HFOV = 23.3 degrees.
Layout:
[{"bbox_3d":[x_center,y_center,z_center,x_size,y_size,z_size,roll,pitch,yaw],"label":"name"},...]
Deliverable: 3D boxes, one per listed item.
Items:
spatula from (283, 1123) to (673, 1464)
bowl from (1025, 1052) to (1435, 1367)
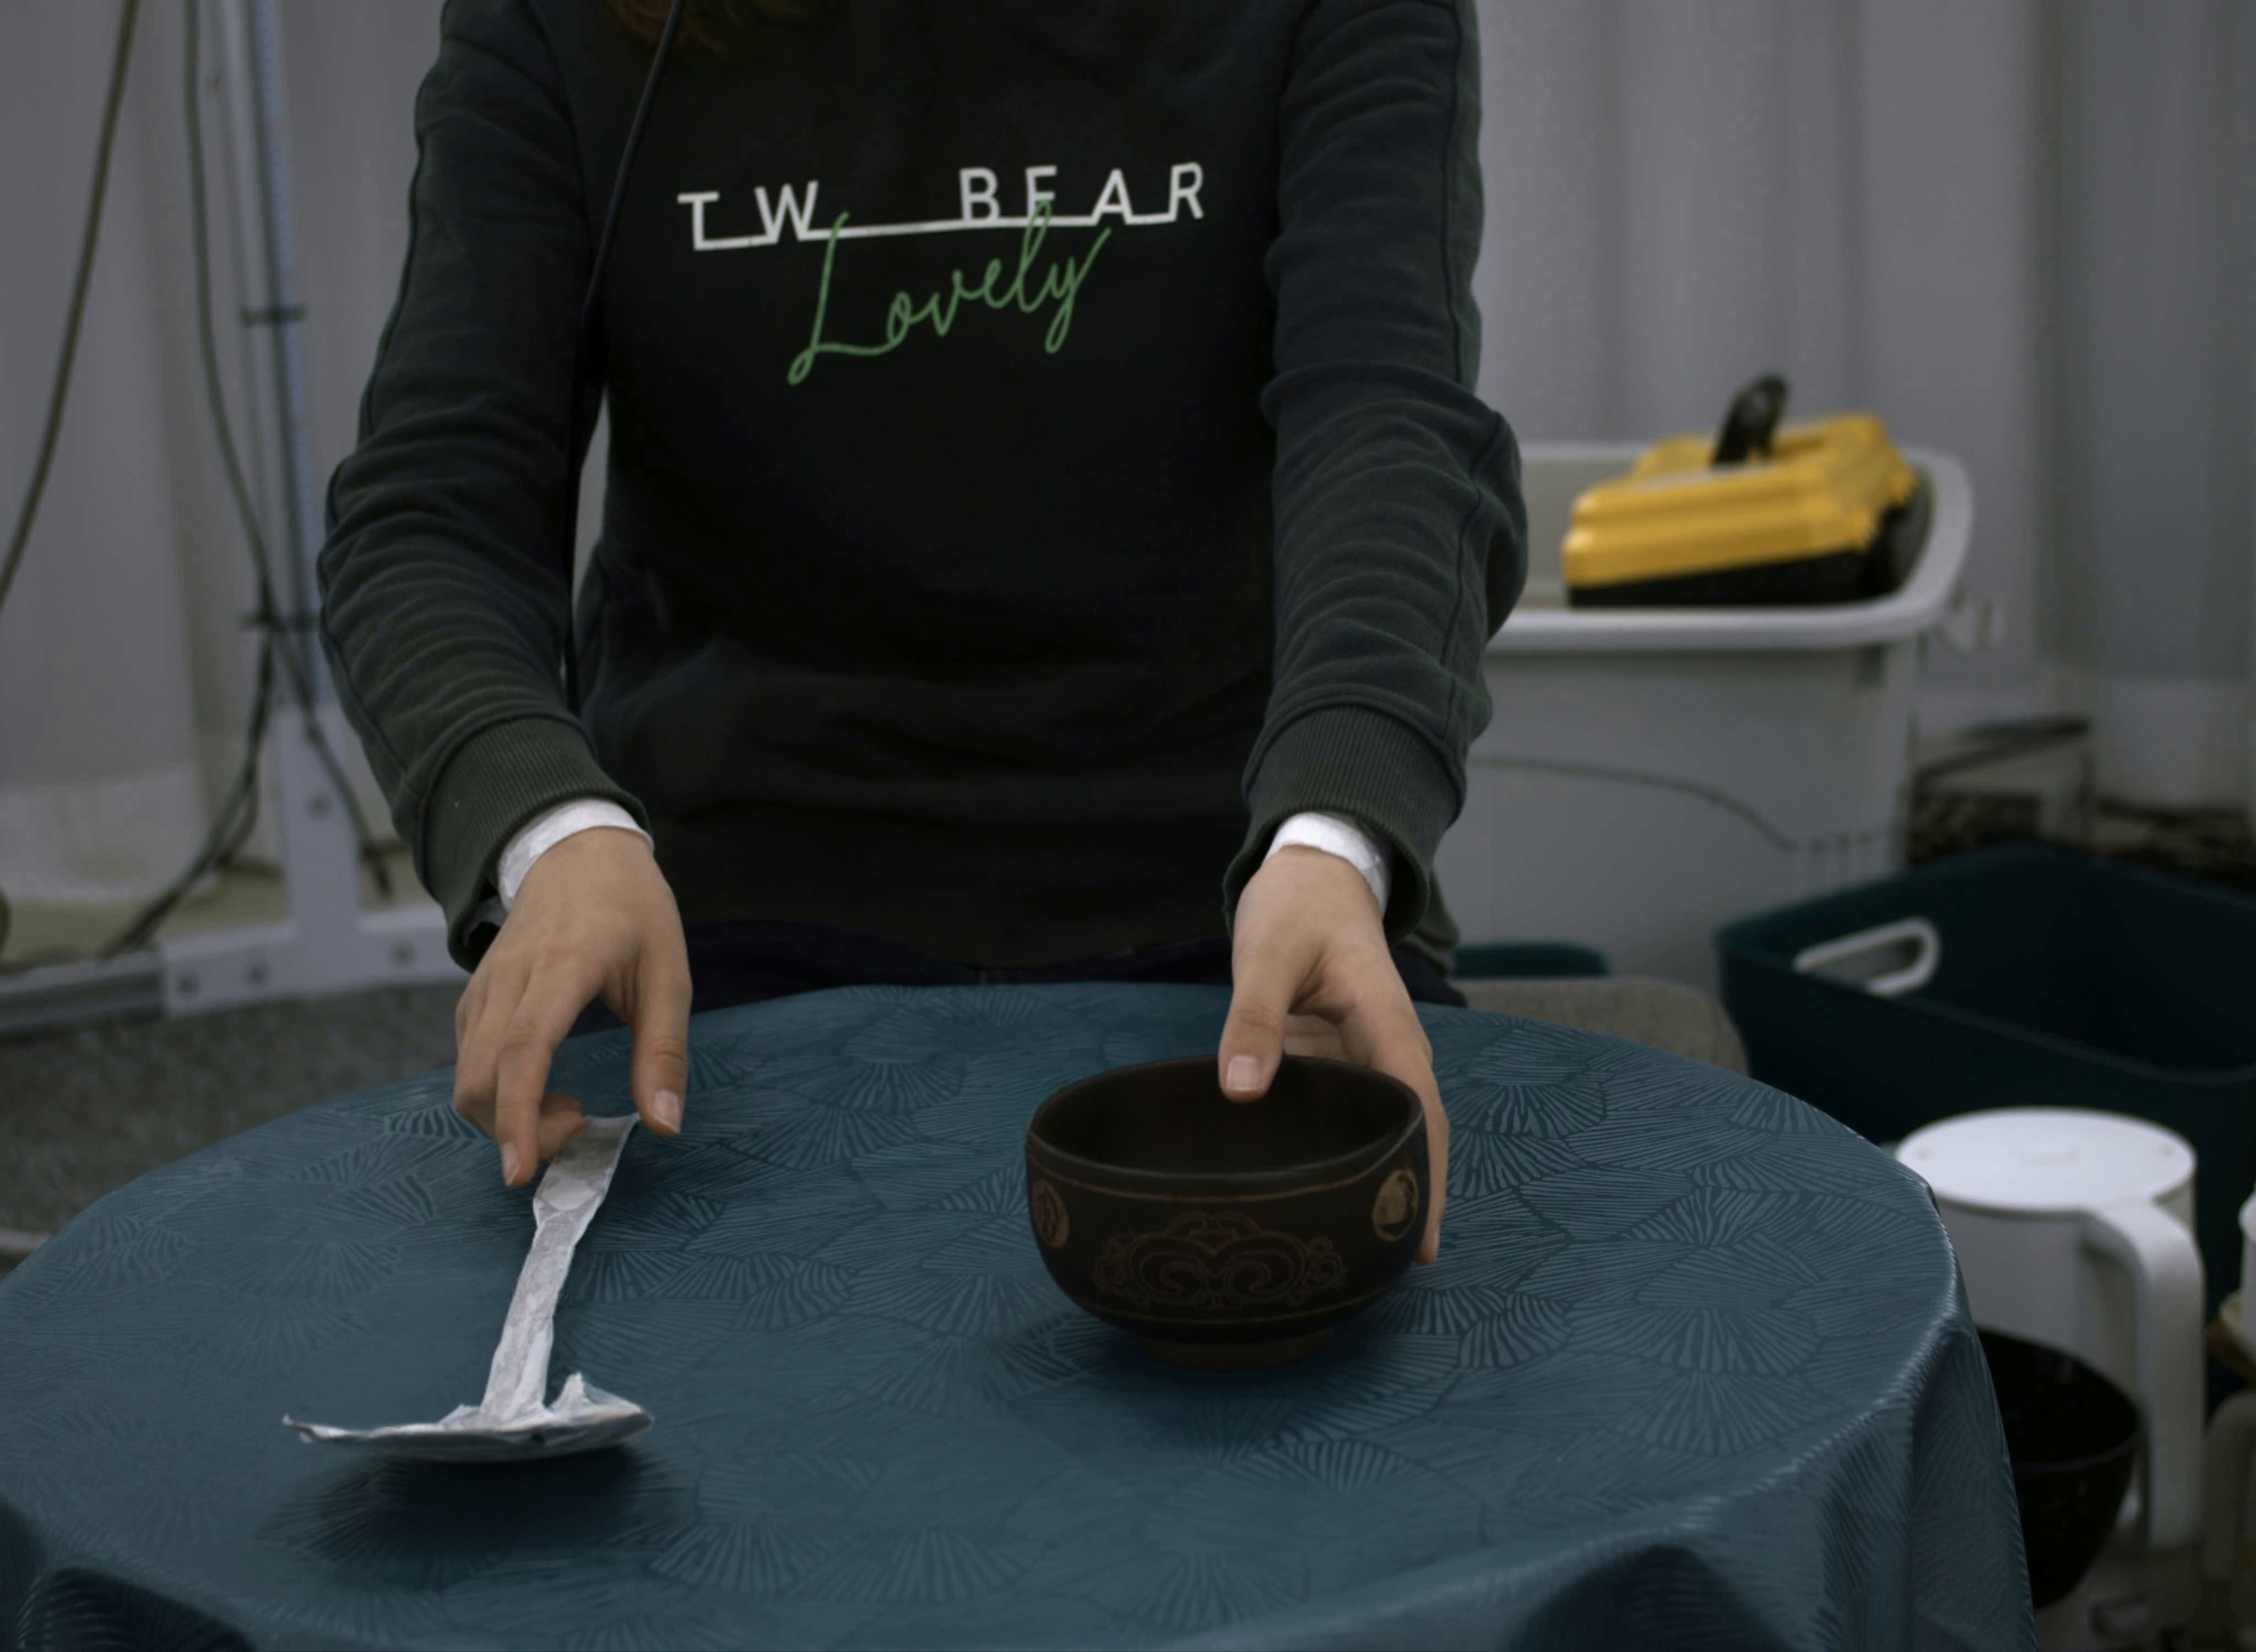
[{"bbox_3d":[-0.170,0.129,1.617,0.098,0.044,0.367,-4,15,3],"label":"spatula"},{"bbox_3d":[0.030,0.114,1.574,0.117,0.069,0.119,-1,14,0],"label":"bowl"}]
